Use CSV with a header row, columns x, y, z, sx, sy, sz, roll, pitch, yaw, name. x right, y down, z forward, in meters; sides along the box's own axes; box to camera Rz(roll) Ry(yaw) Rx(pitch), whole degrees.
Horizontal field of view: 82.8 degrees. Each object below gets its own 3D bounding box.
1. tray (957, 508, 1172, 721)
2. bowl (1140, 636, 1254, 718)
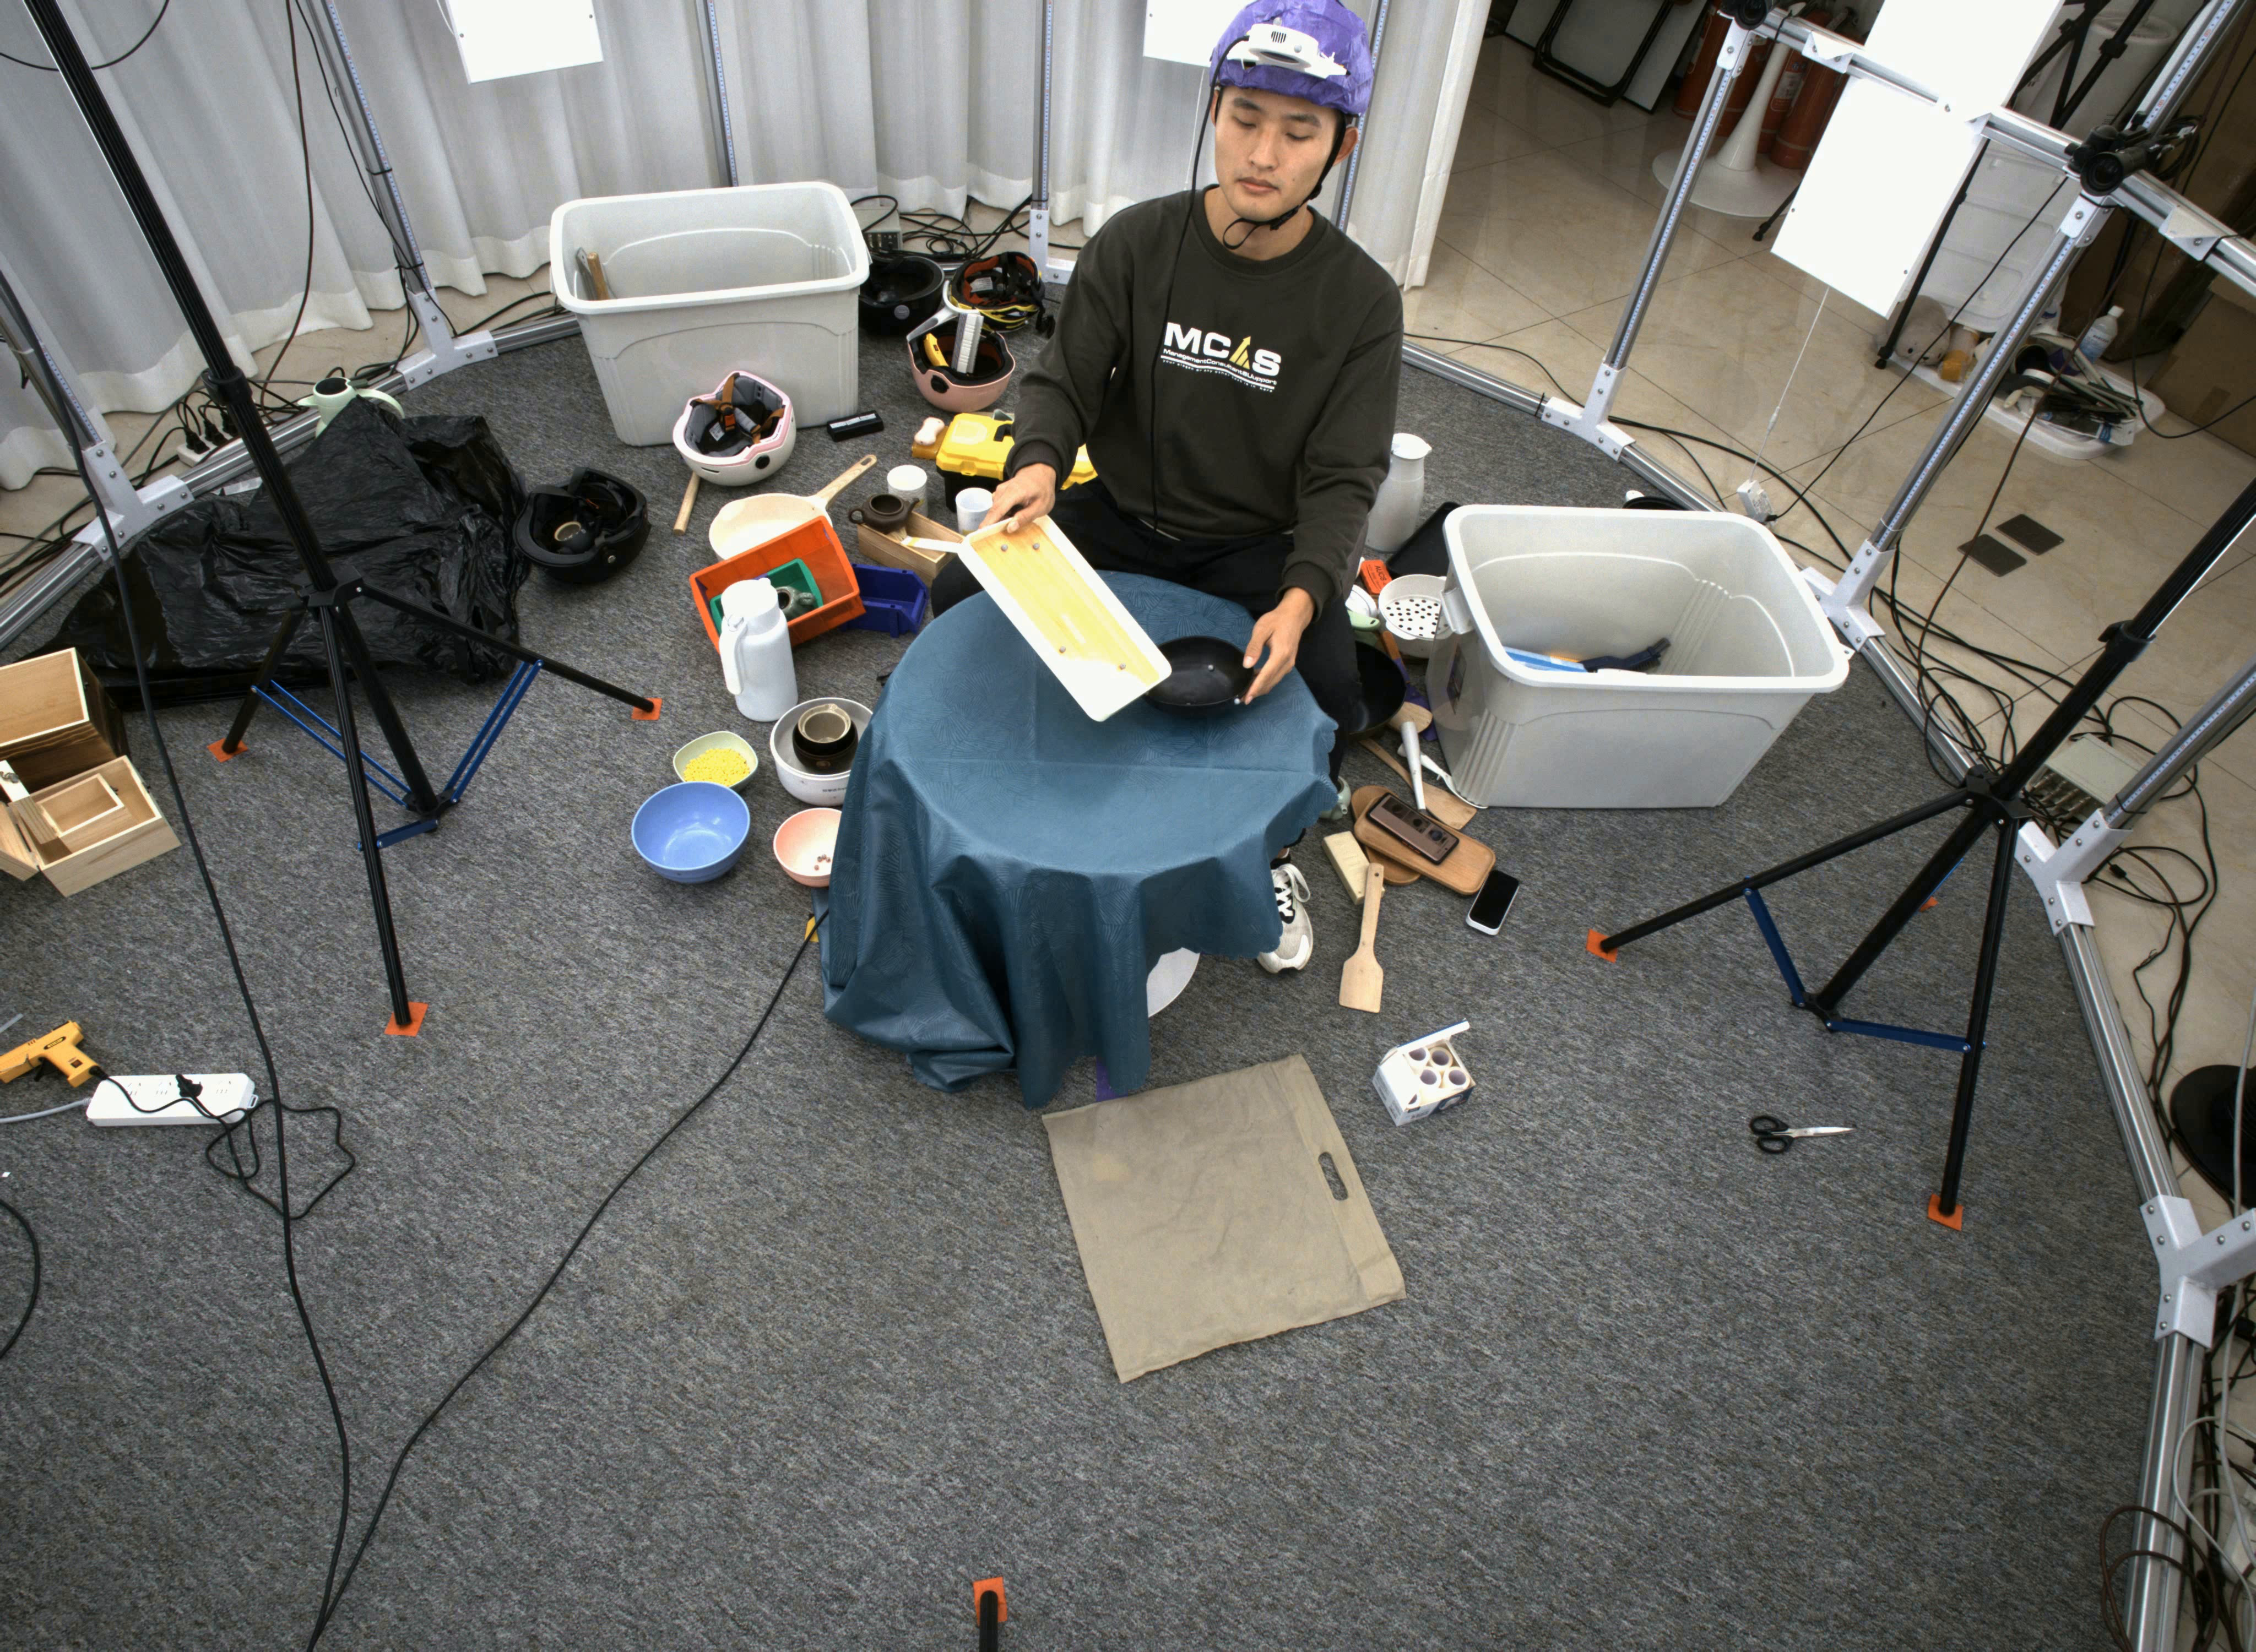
x,y,z,sx,sy,sz,roll,pitch,yaw,name
-0.081,-0.289,1.733,0.301,0.027,0.193,51,39,2,tray
0.091,-0.196,1.799,0.170,0.065,0.141,-3,49,3,bowl
